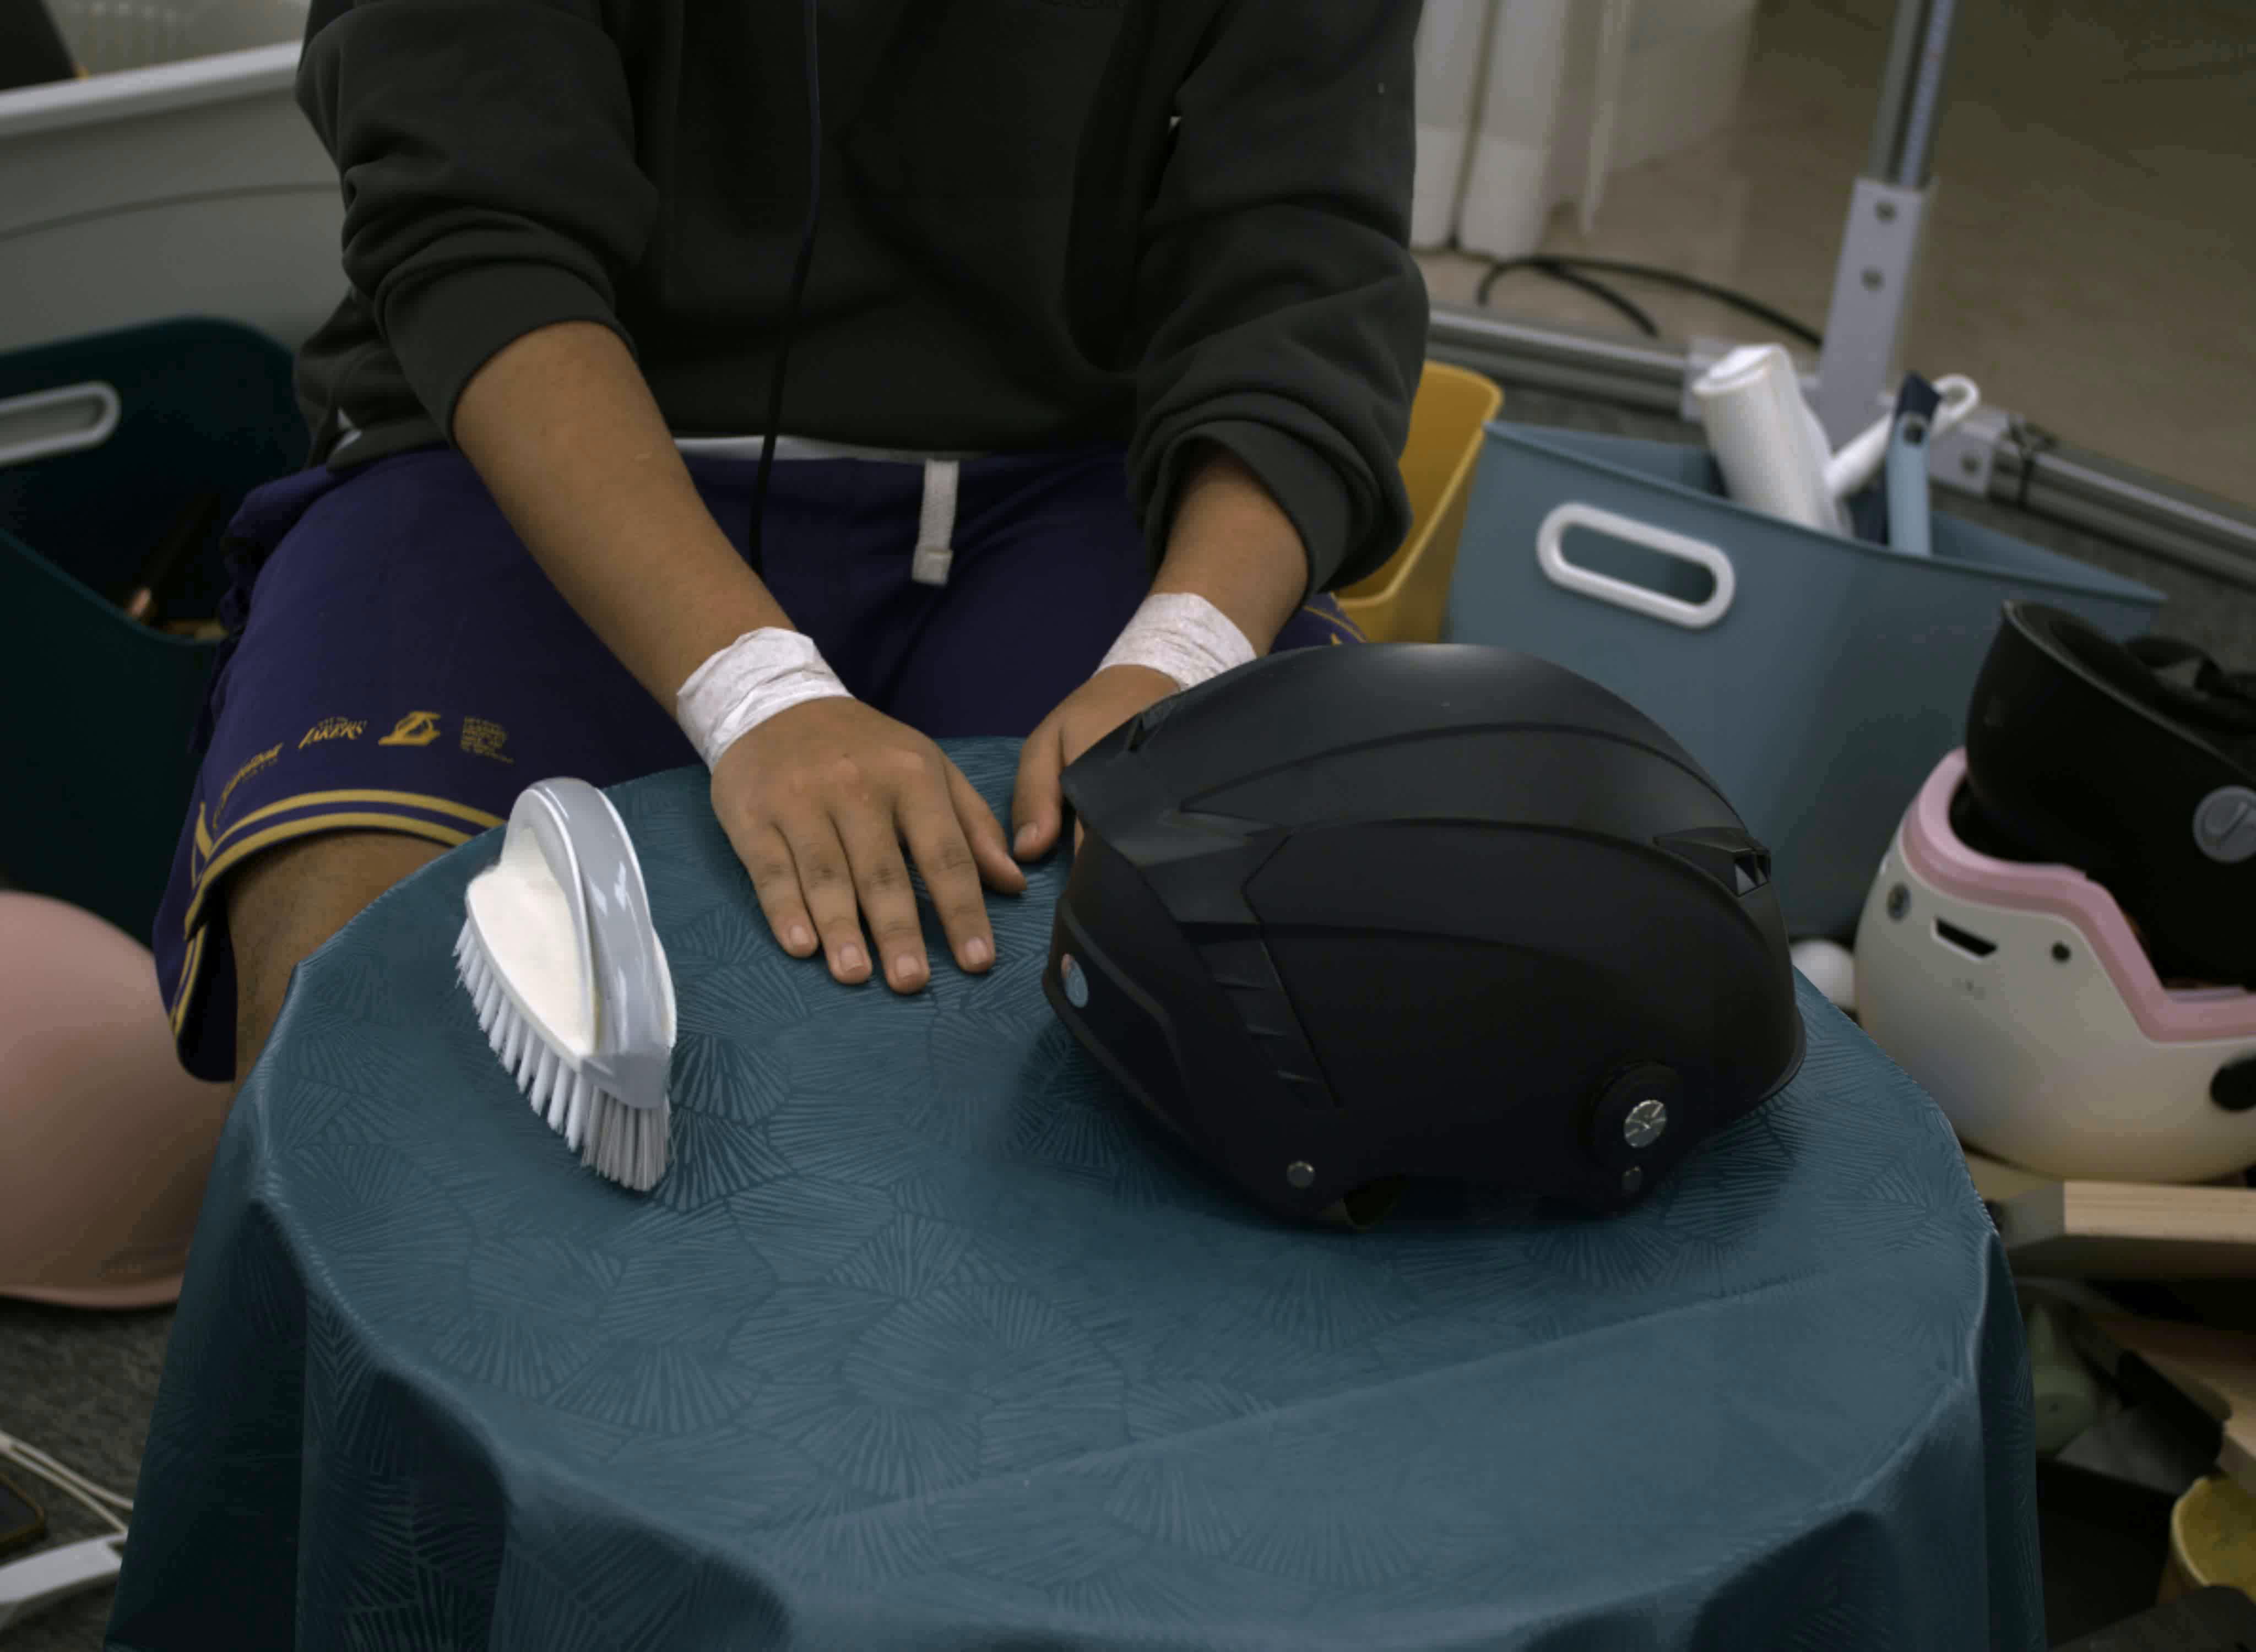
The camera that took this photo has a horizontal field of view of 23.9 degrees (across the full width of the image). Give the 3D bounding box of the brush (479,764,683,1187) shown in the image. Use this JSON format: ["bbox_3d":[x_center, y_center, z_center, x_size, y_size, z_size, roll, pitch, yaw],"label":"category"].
[{"bbox_3d":[-0.181,0.043,1.819,0.061,0.094,0.177,-4,30,-17],"label":"brush"}]

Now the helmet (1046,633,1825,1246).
[{"bbox_3d":[0.107,0.021,1.853,0.275,0.172,0.249,-8,31,-19],"label":"helmet"}]
